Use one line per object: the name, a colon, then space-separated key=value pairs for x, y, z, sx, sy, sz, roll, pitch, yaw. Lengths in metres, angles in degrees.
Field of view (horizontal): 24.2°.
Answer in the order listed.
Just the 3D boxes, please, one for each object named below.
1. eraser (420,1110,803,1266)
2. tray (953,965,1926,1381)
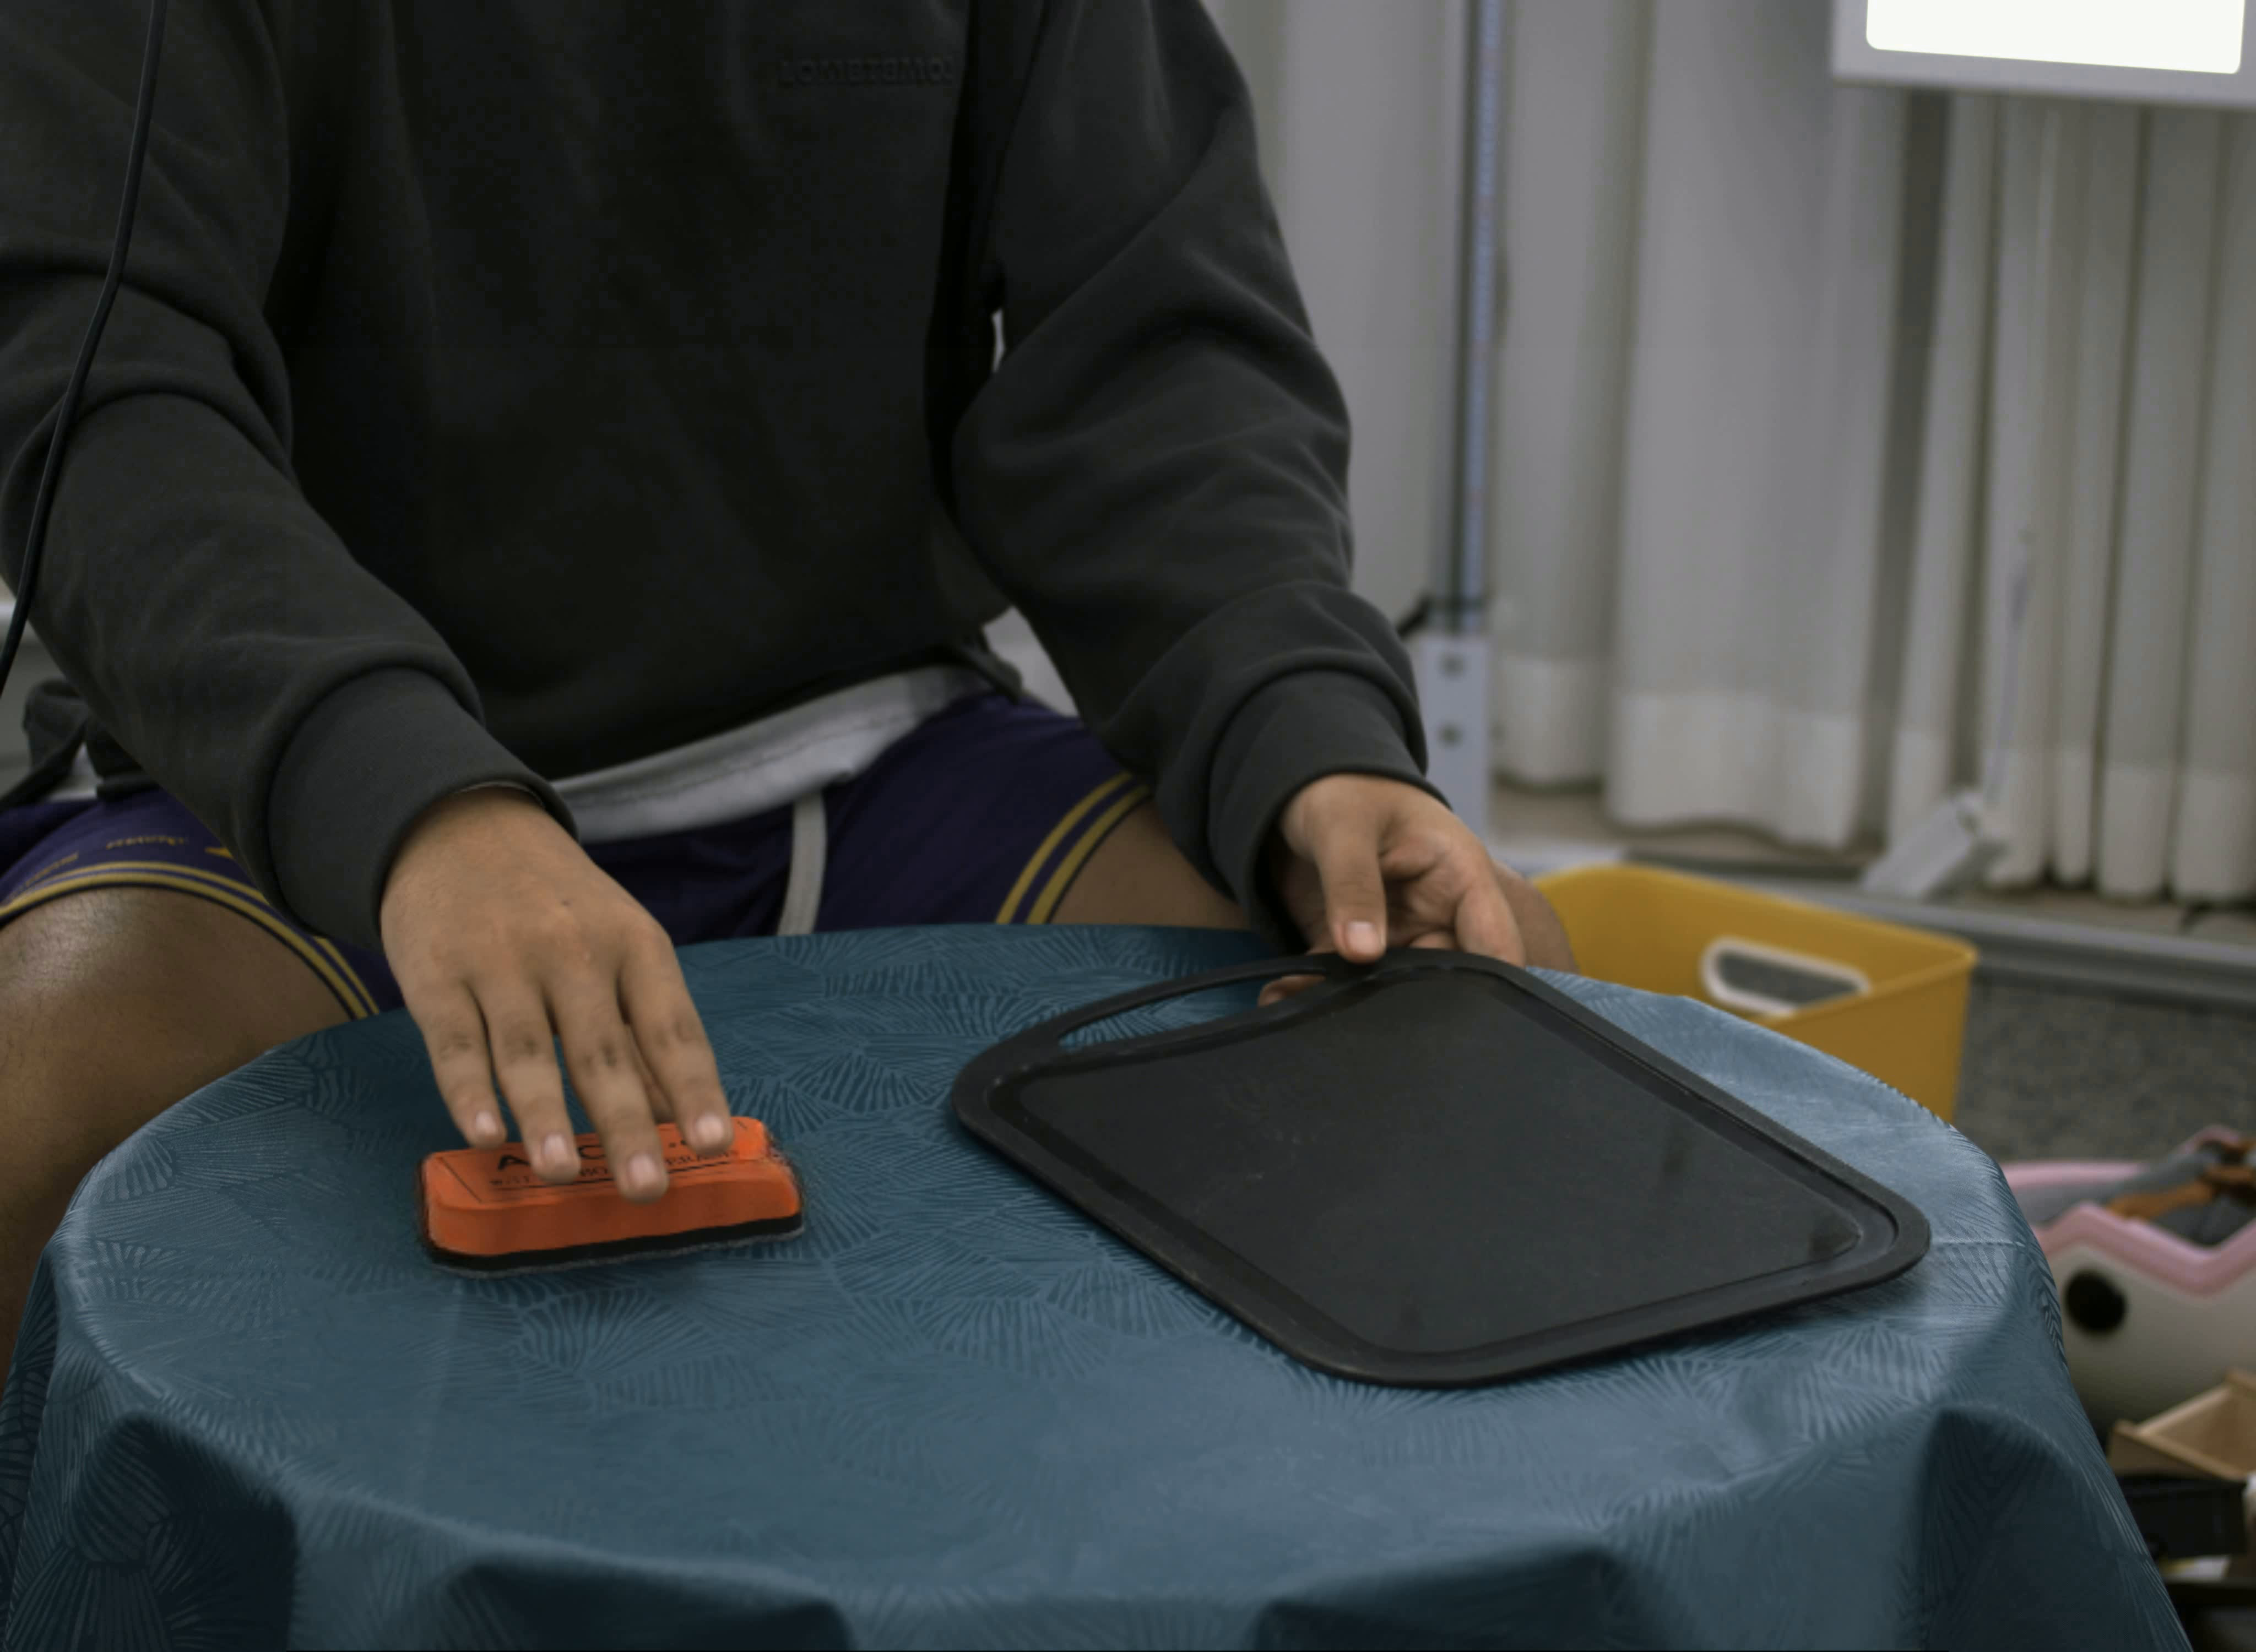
eraser: x=-0.155 y=0.108 z=1.578 sx=0.108 sy=0.023 sz=0.058 roll=-5 pitch=17 yaw=-23
tray: x=0.085 y=0.098 z=1.628 sx=0.212 sy=0.010 sz=0.321 roll=-11 pitch=21 yaw=-25
